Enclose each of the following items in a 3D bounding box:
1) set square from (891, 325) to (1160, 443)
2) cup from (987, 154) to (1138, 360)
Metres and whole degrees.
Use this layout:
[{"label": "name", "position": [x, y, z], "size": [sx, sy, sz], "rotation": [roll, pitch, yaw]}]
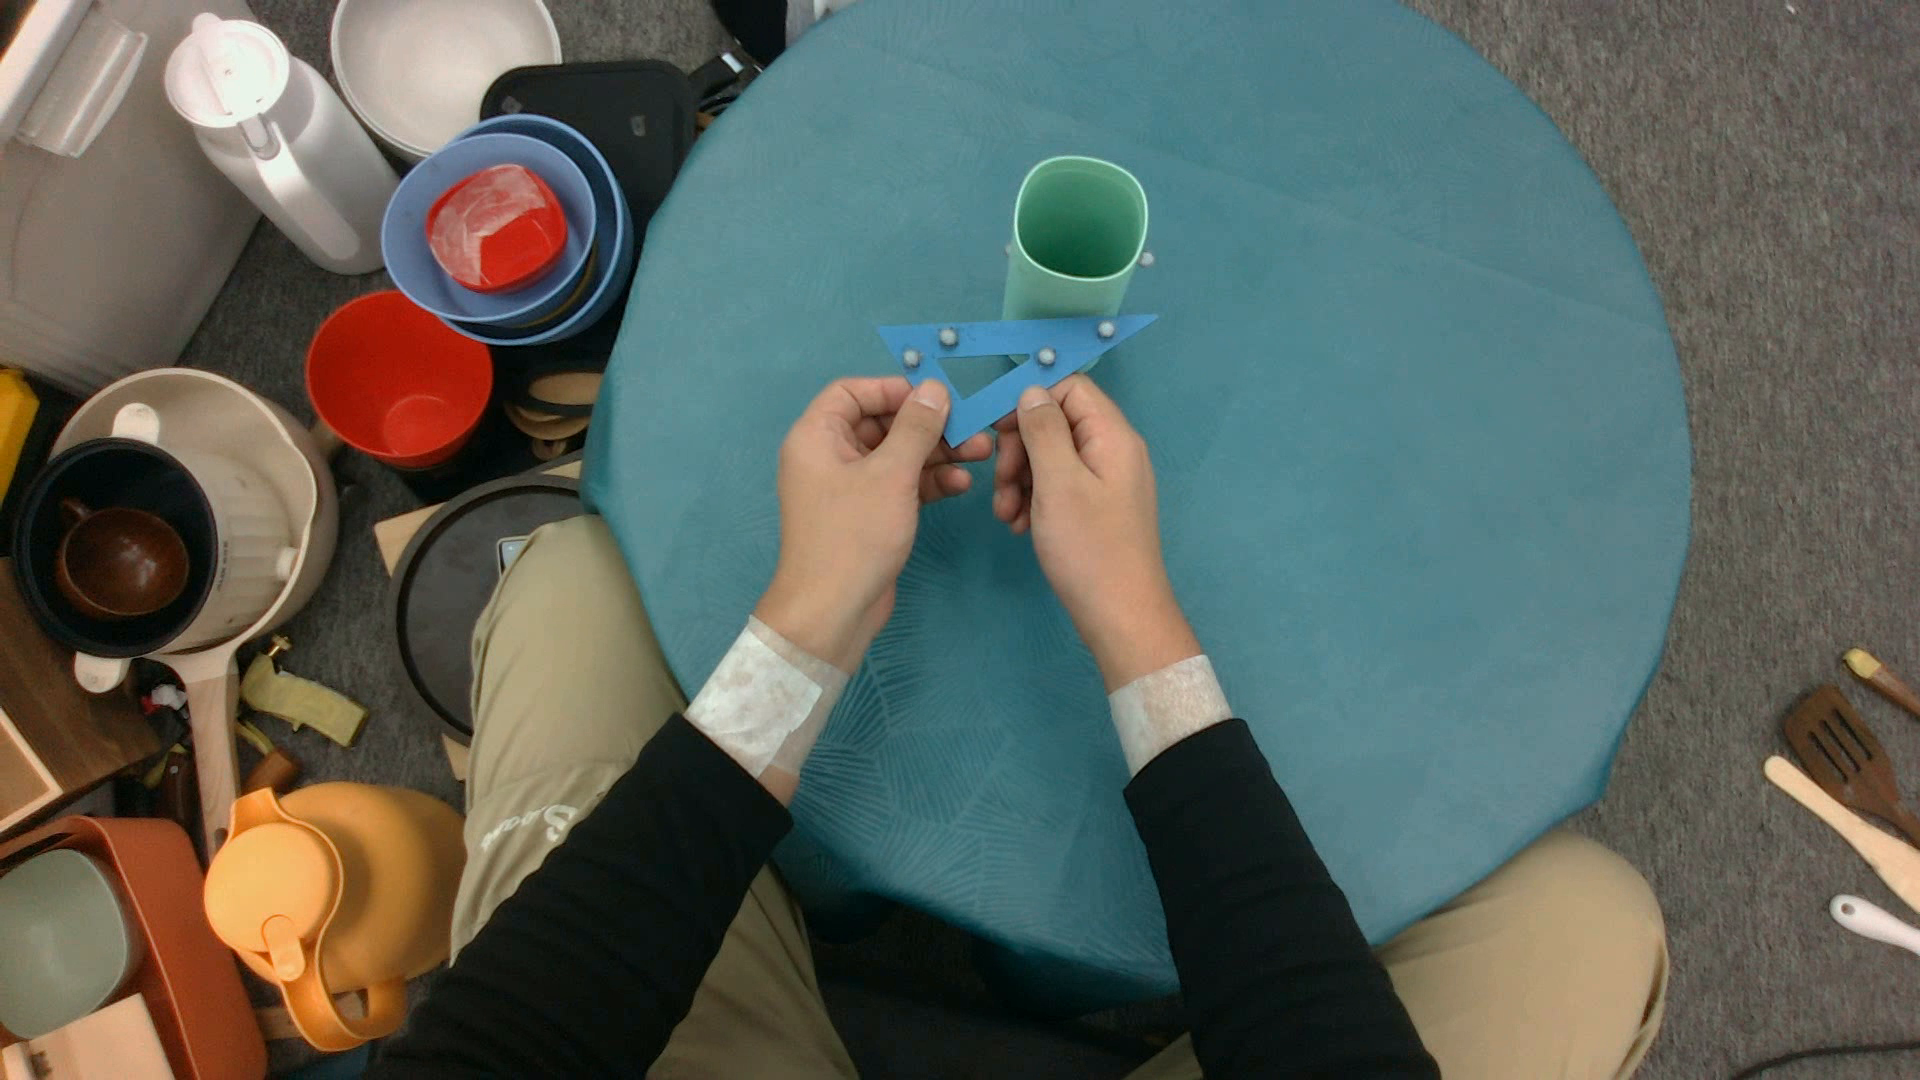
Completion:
[{"label": "set square", "position": [0.031, -0.076, 0.667], "size": [0.132, 0.006, 0.061], "rotation": [2, 81, -1]}, {"label": "cup", "position": [0.049, -0.137, 0.713], "size": [0.067, 0.132, 0.067], "rotation": [1, 76, -3]}]
